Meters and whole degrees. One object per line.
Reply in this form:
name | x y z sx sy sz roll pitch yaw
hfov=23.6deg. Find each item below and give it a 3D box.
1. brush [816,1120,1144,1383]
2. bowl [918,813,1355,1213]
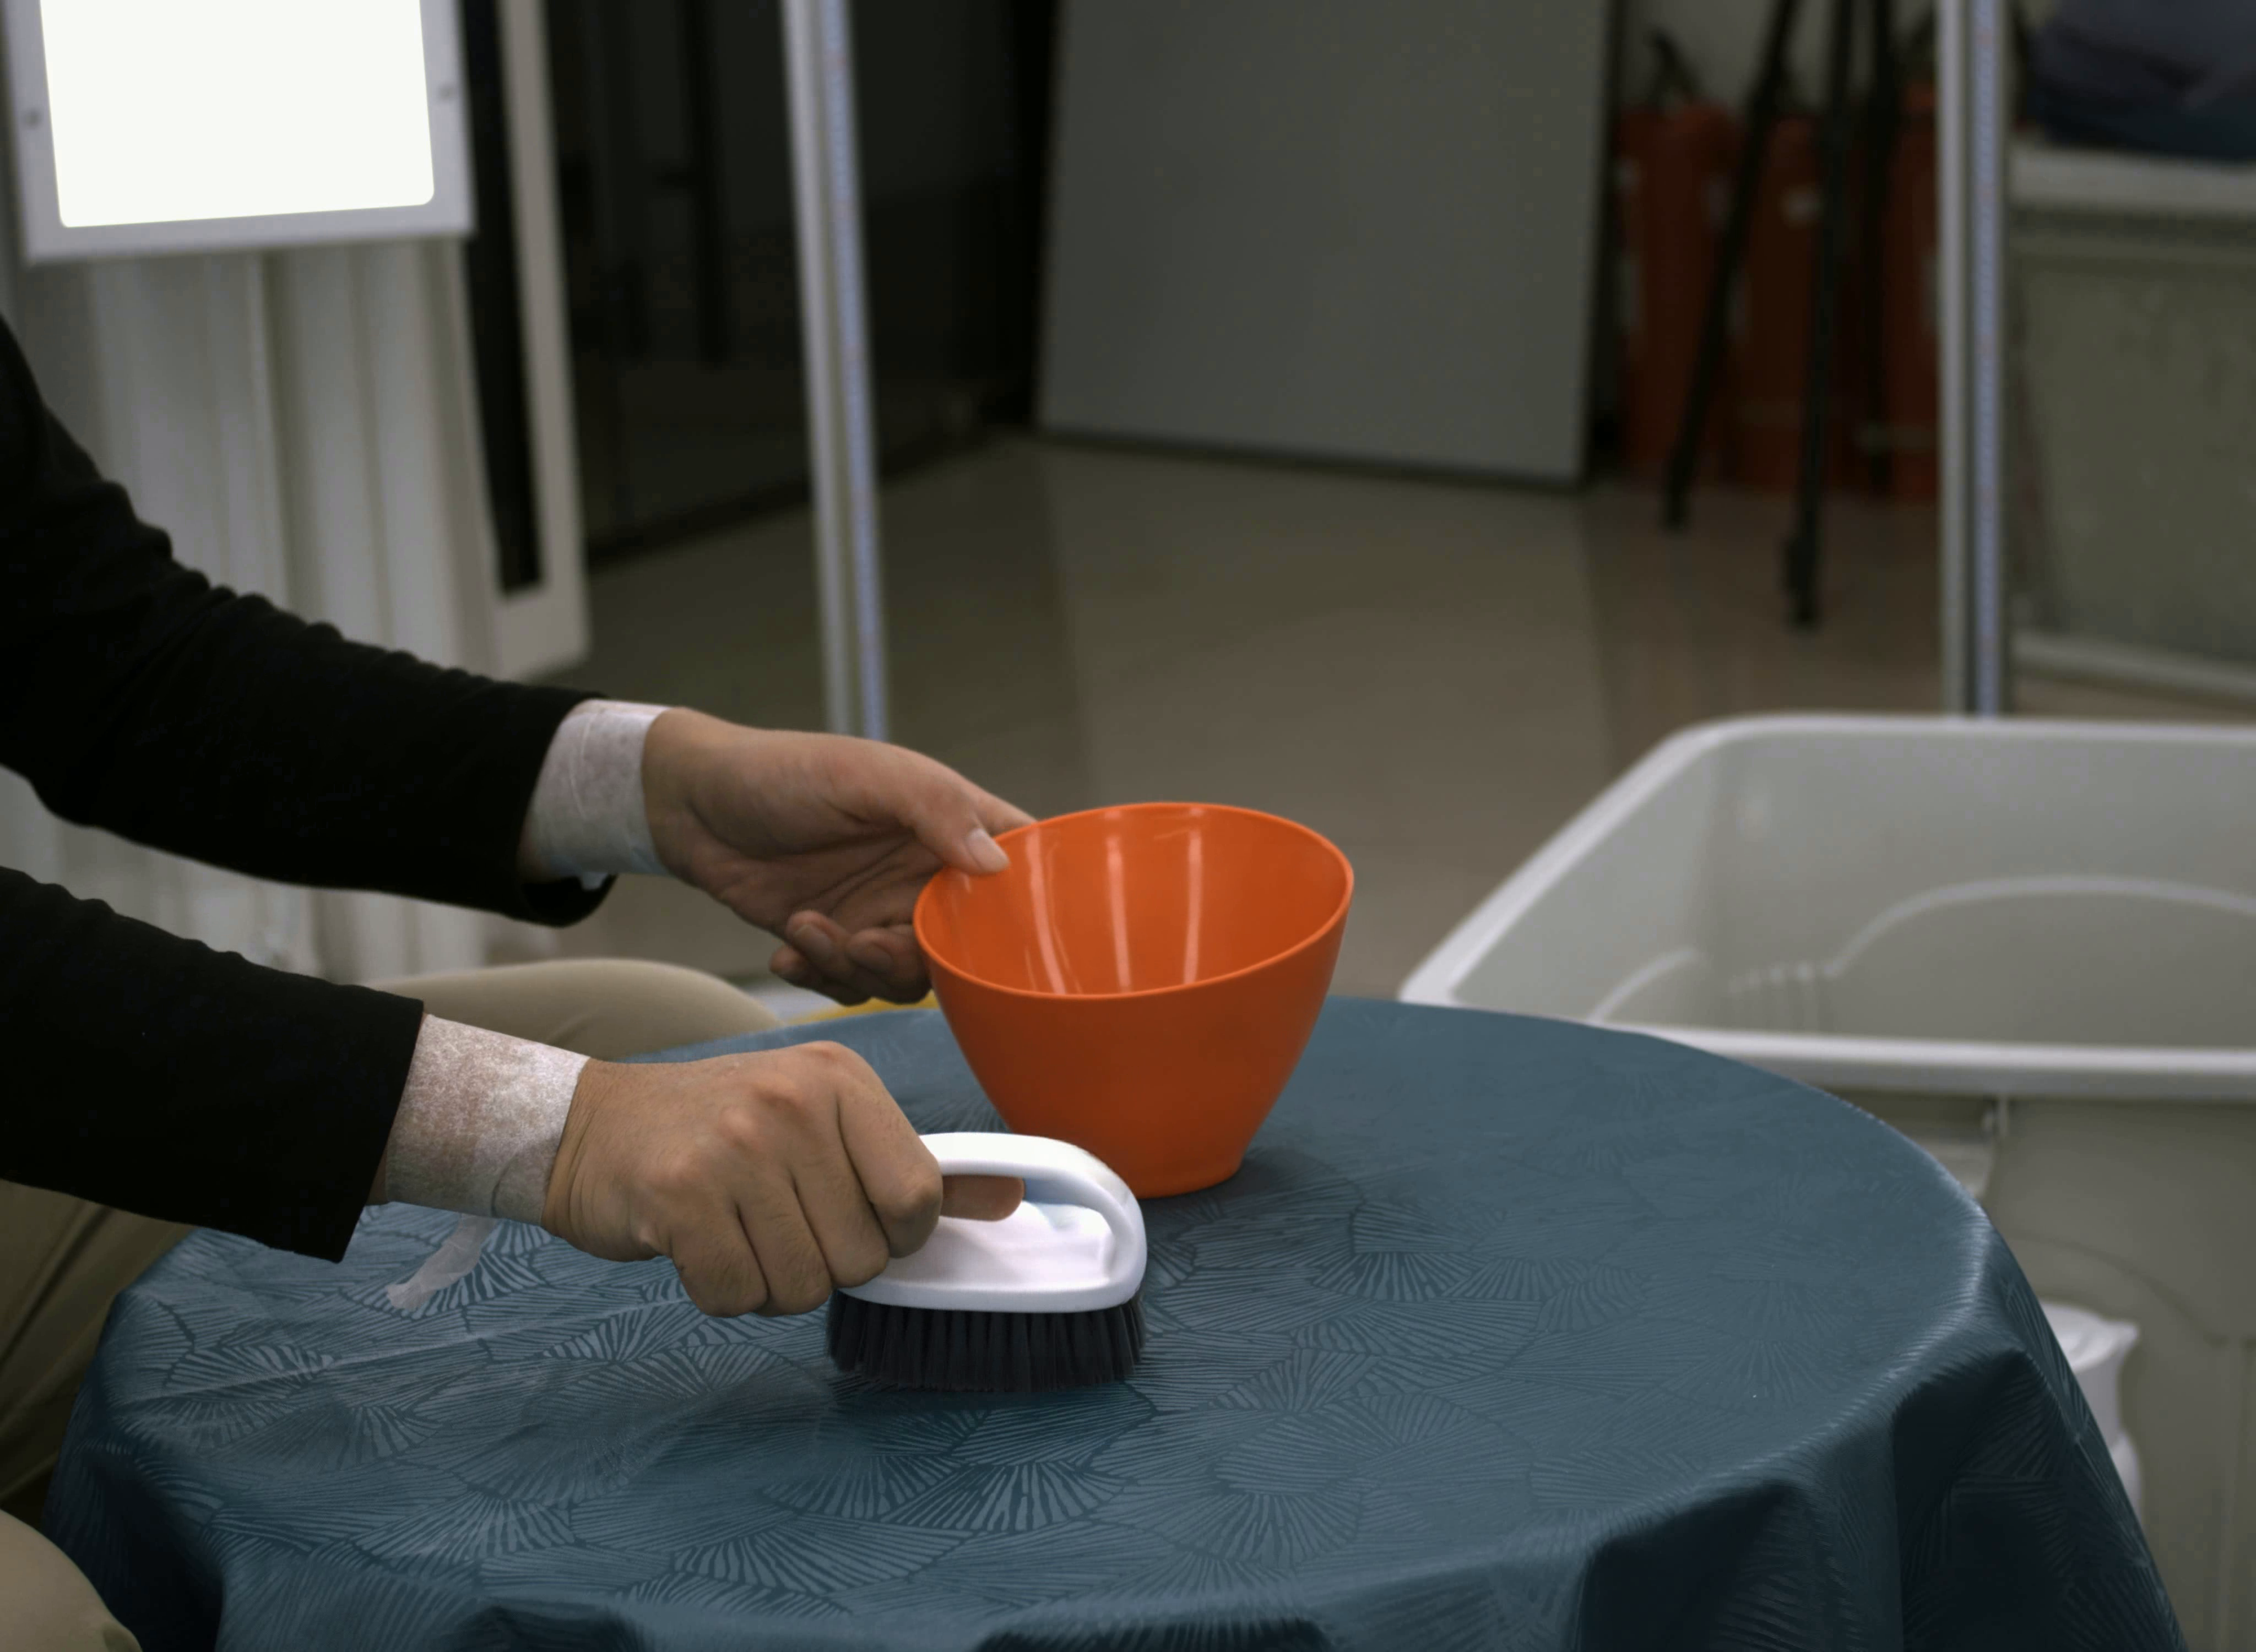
brush | -0.043 0.120 1.592 0.098 0.073 0.050 3 32 5
bowl | 0.006 0.065 1.789 0.146 0.106 0.148 -5 14 0
